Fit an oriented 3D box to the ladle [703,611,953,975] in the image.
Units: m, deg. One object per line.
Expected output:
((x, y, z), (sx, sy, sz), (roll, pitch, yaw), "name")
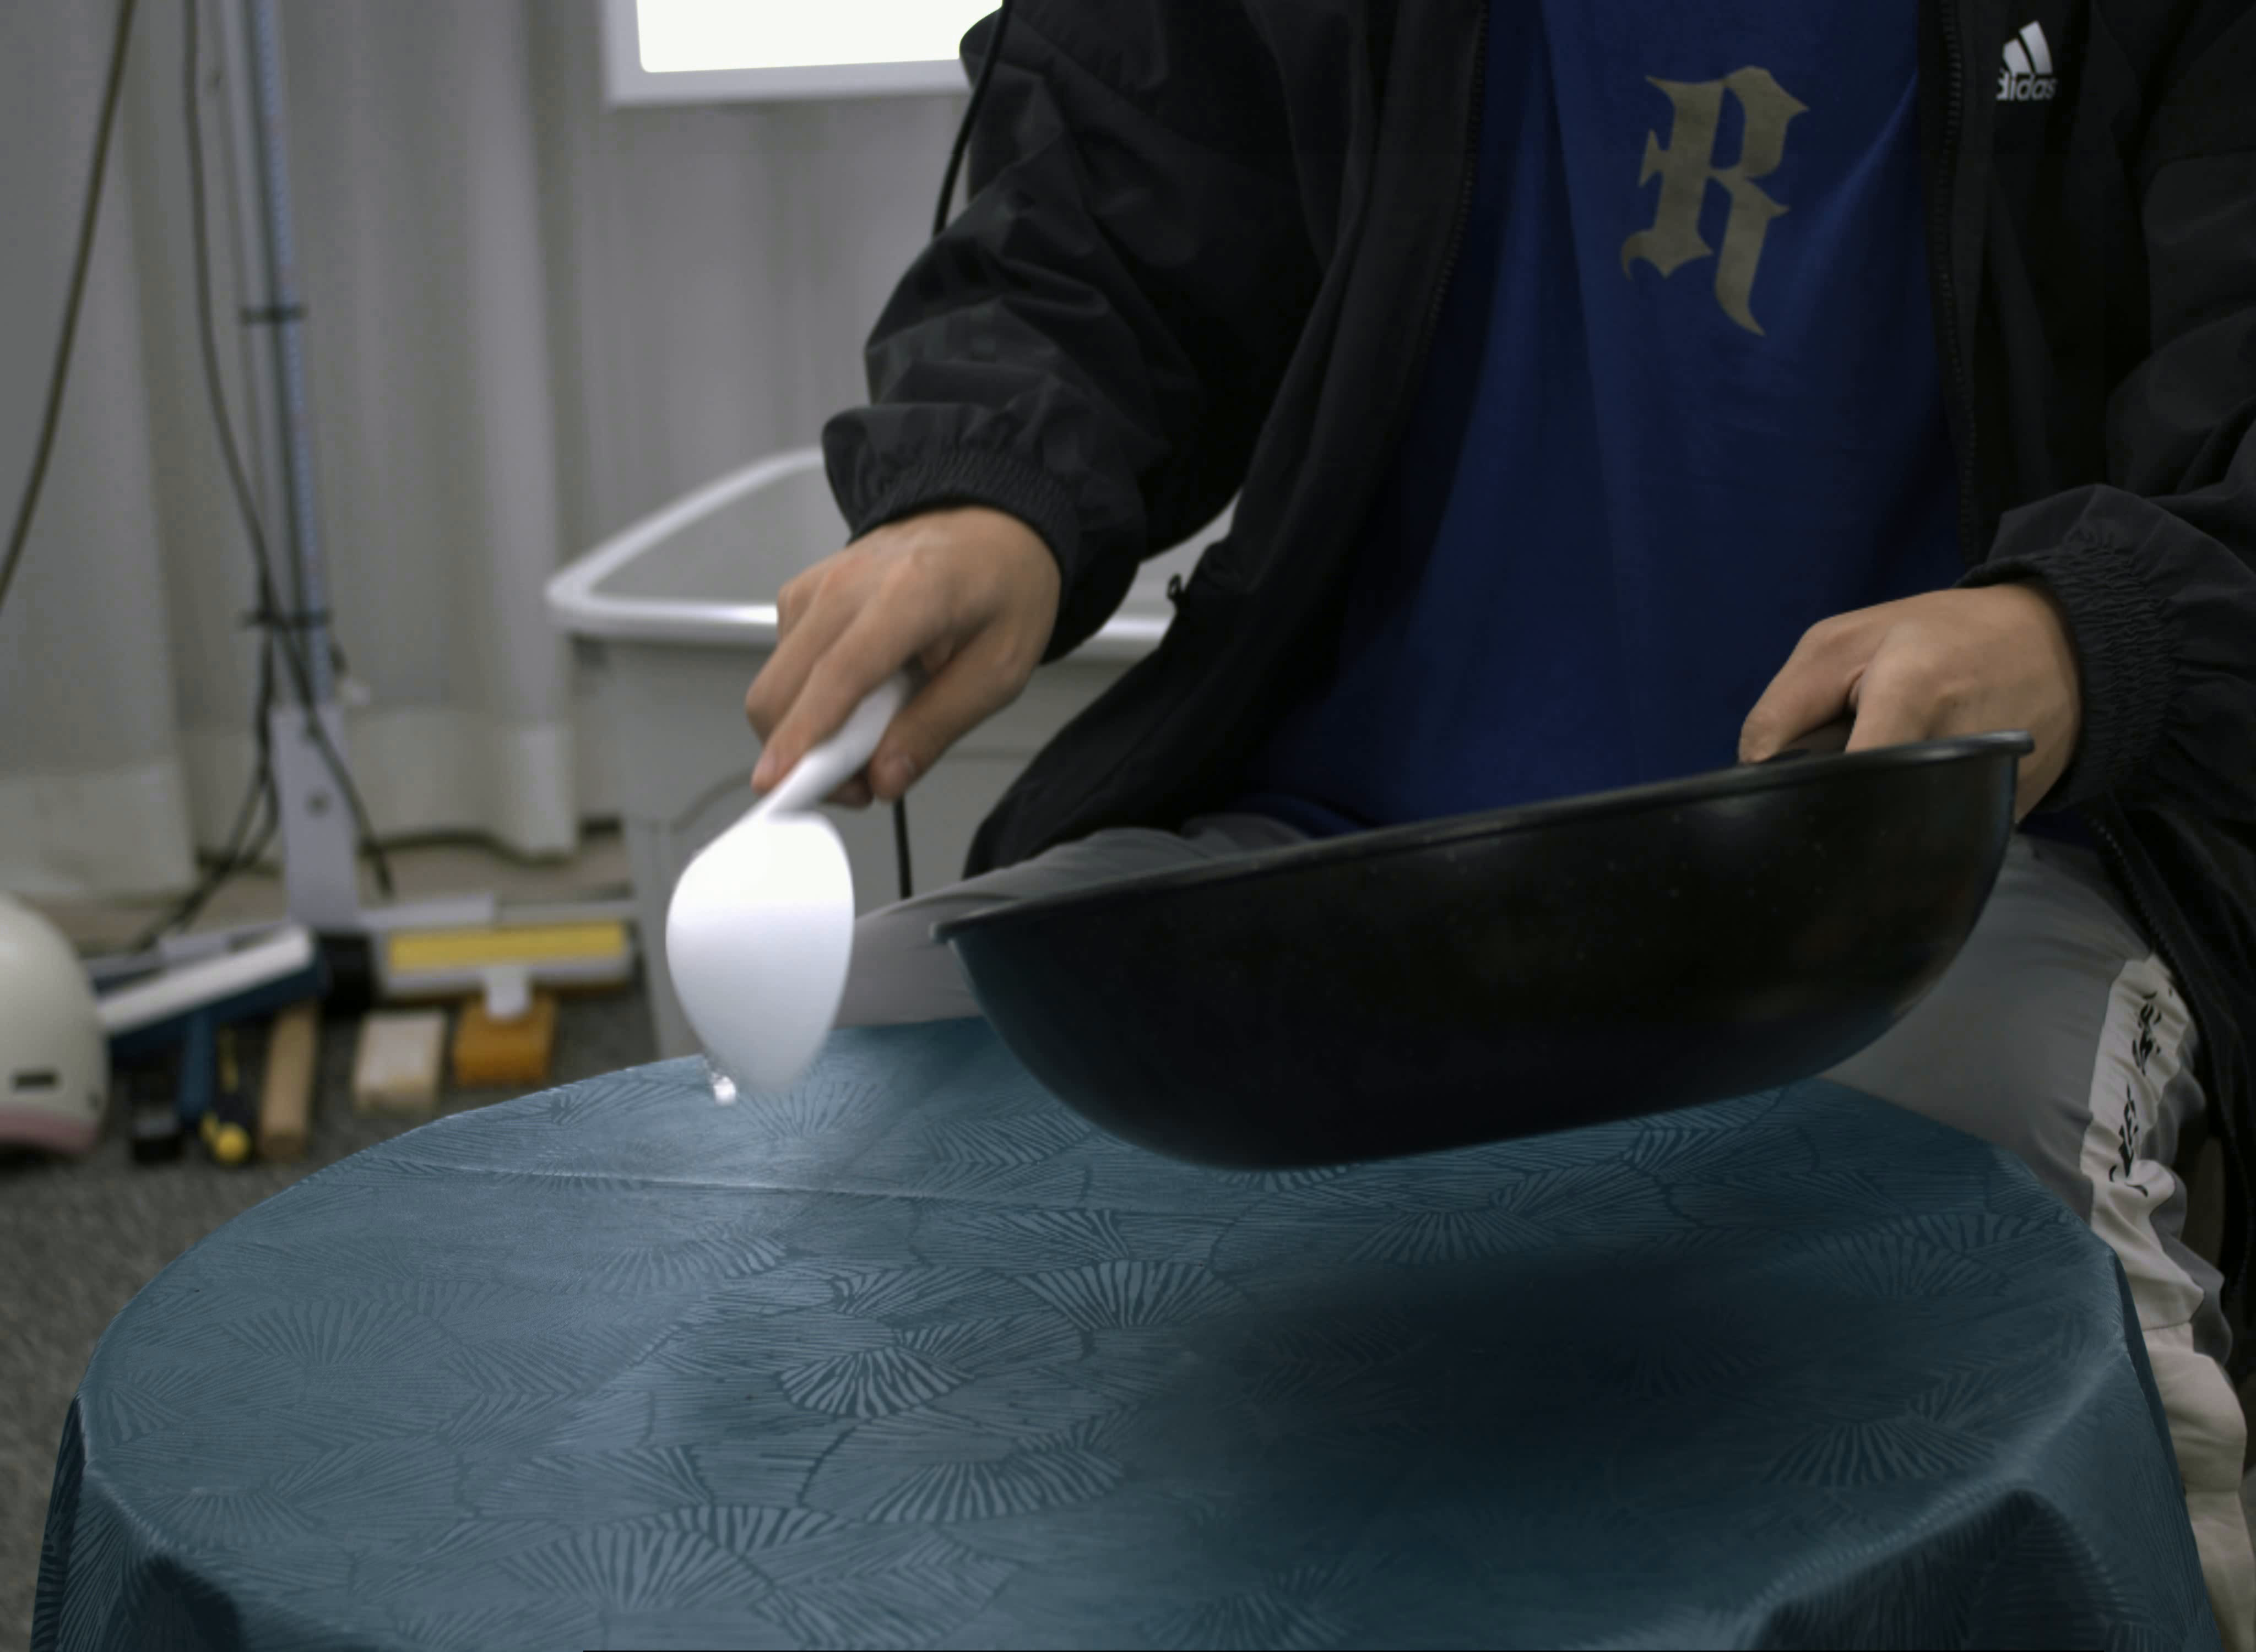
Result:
((-0.083, -0.025, 1.802), (0.070, 0.090, 0.294), (10, 14, 7), "ladle")

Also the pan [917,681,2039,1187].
((0.143, 0.027, 1.570), (0.310, 0.112, 0.475), (-9, -1, 32), "pan")
